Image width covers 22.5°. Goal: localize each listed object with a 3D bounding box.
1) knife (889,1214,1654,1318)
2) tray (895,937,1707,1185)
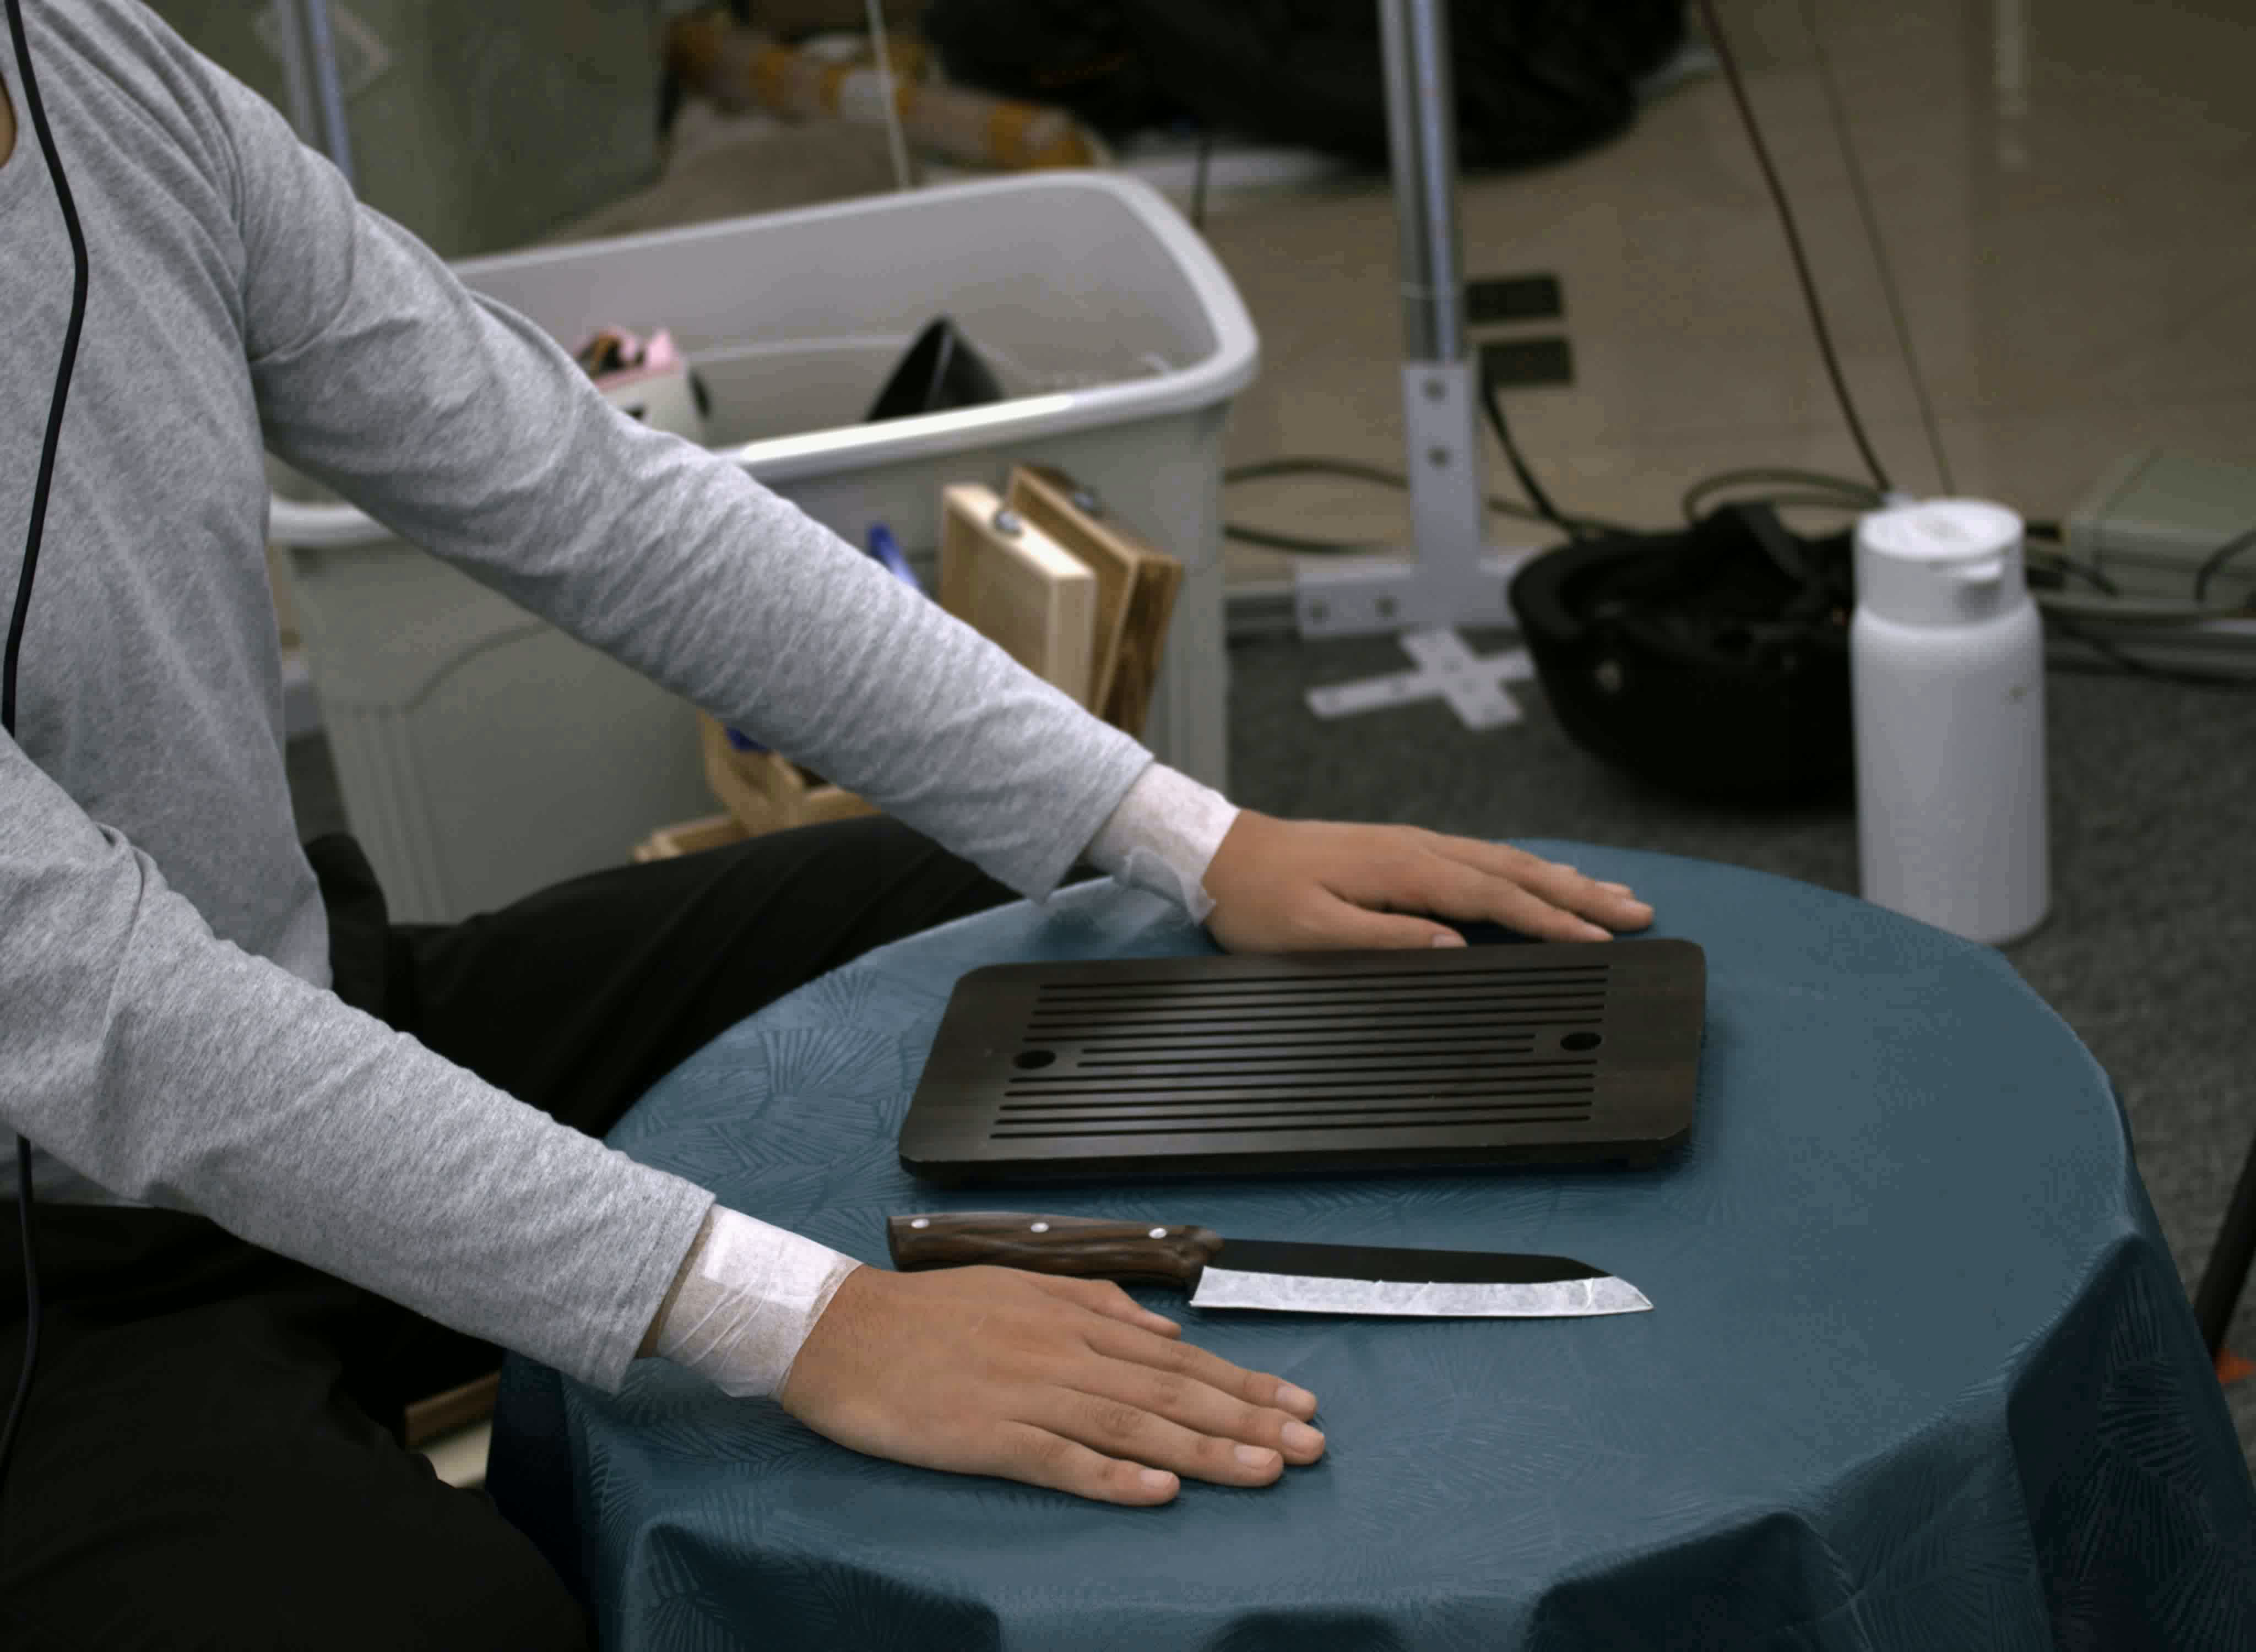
[{"bbox_3d":[0.049,0.163,2.071,0.288,0.020,0.049,3,31,14],"label":"knife"},{"bbox_3d":[0.070,0.093,2.214,0.305,0.019,0.167,-2,25,10],"label":"tray"}]
